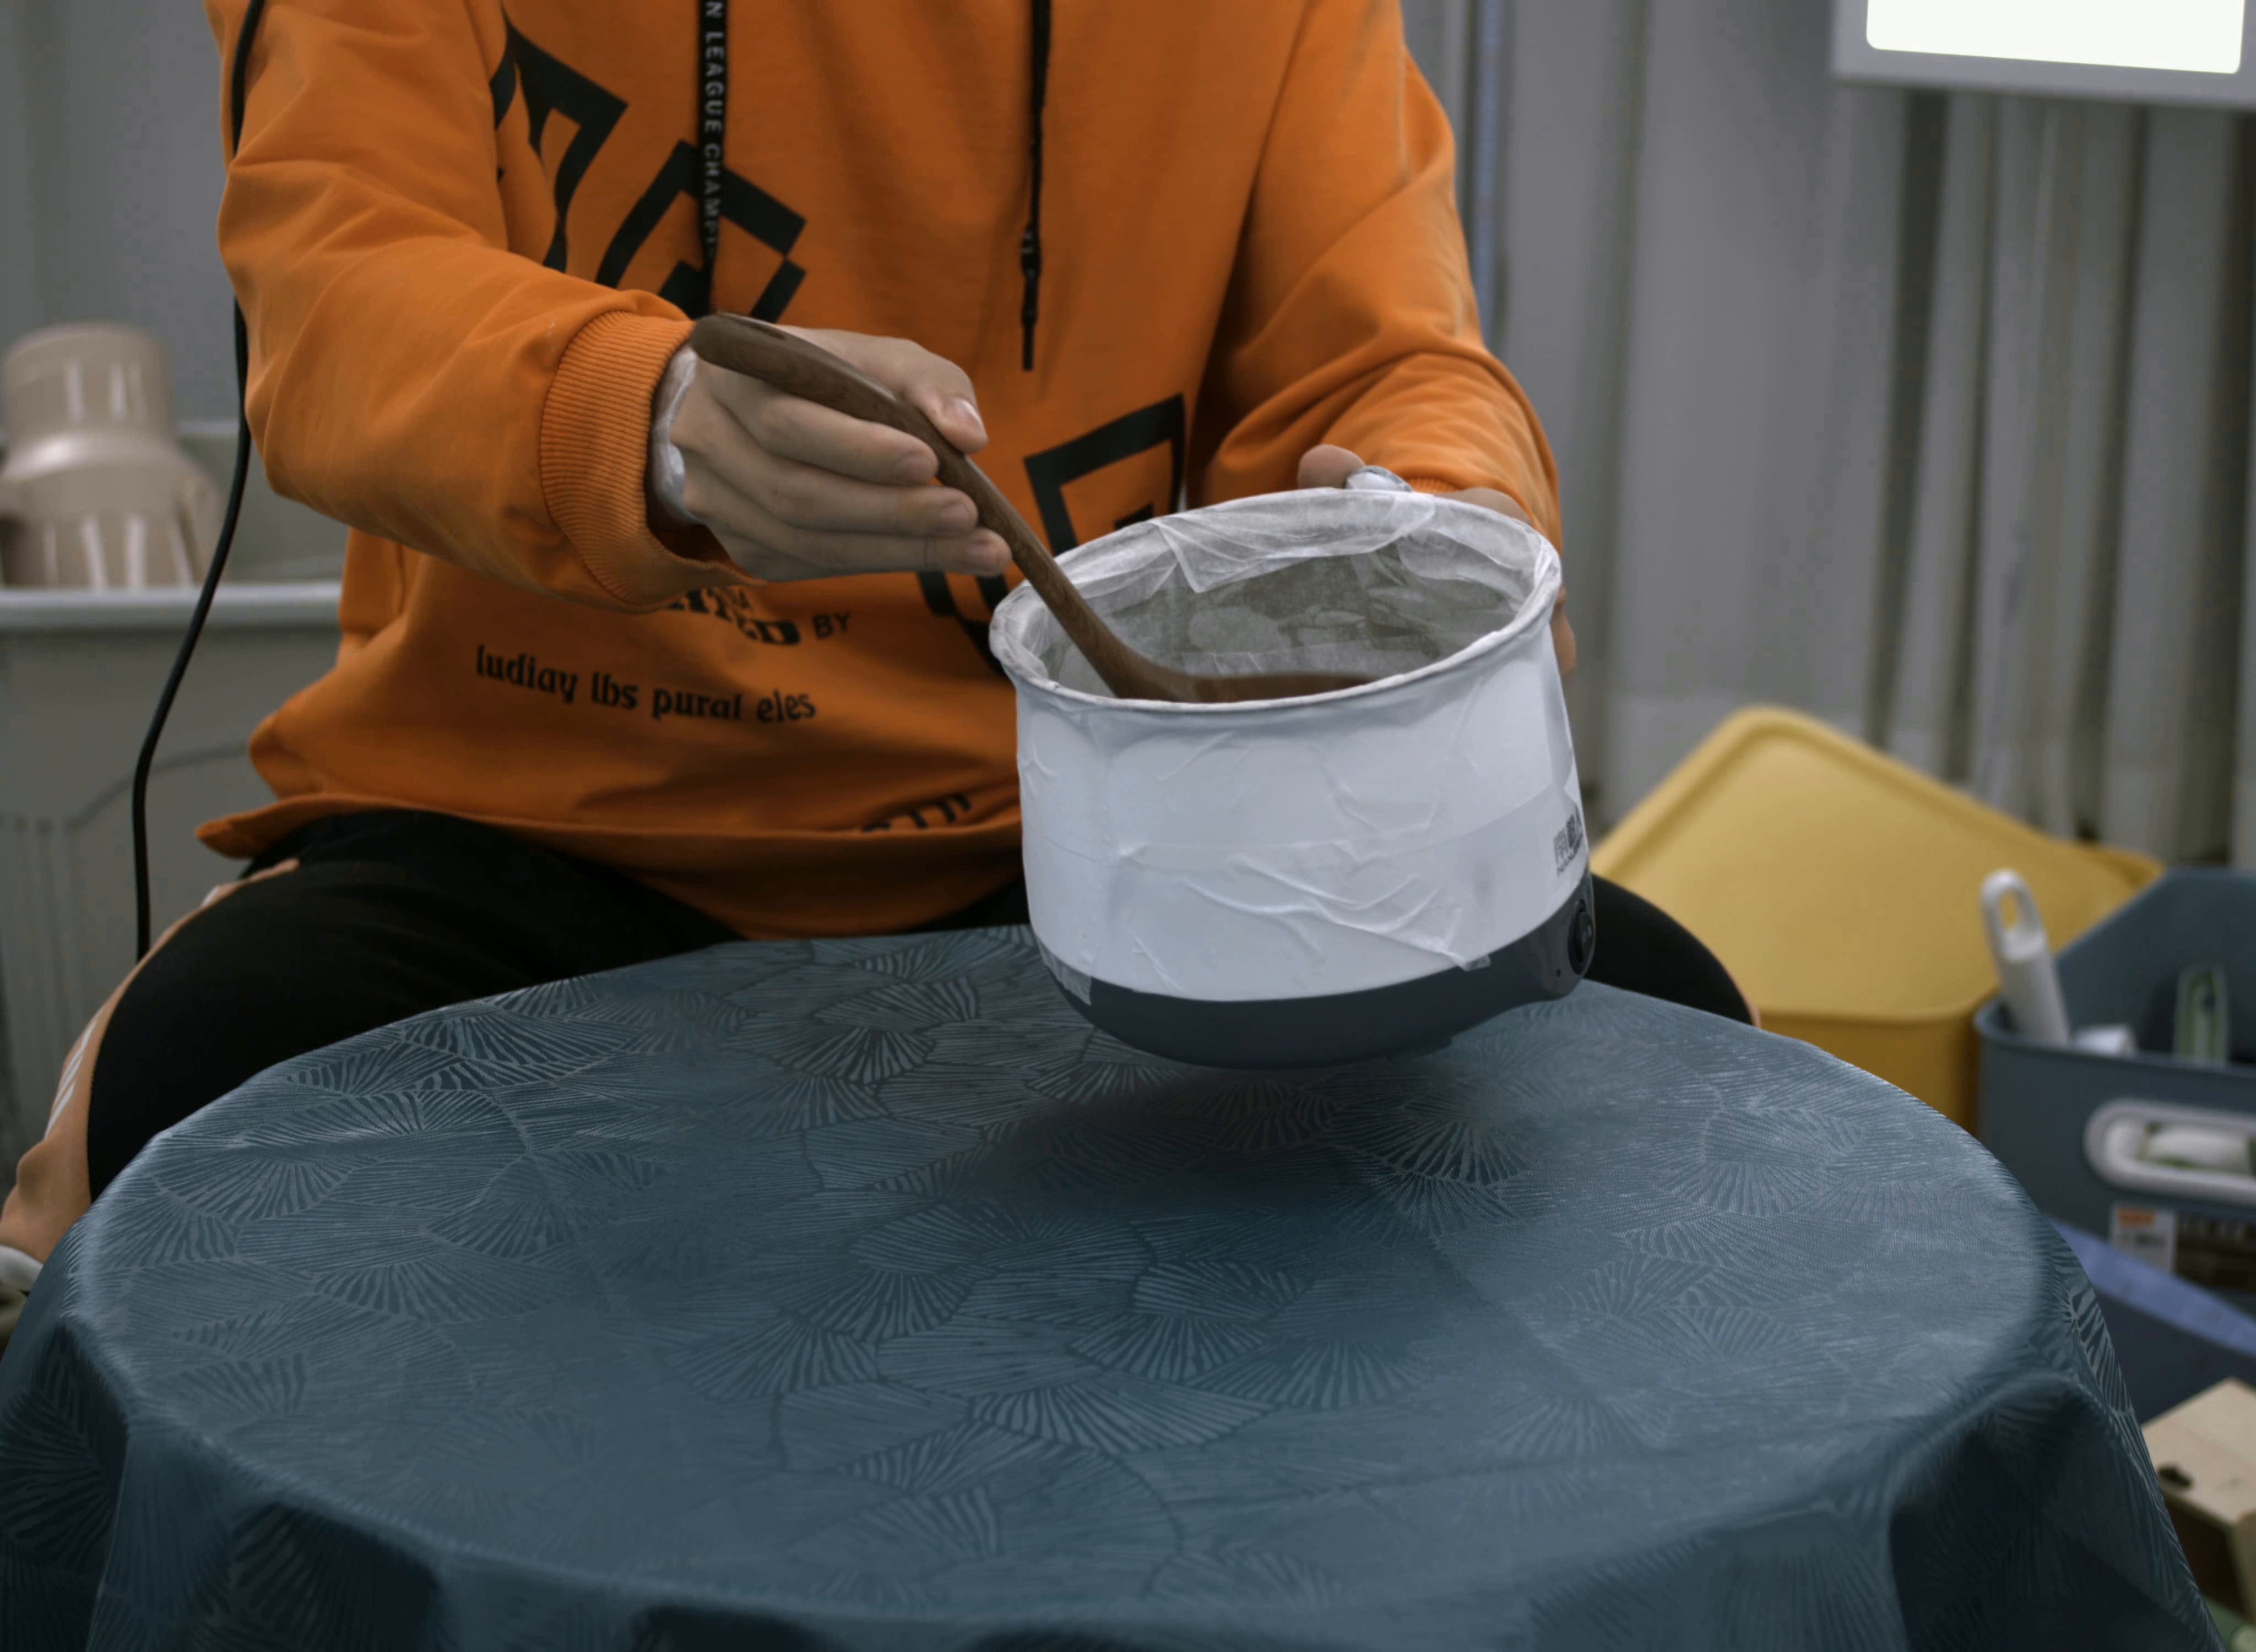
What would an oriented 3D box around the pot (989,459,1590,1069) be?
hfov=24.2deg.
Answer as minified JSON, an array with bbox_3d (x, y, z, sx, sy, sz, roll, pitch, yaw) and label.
[{"bbox_3d":[0.061,-0.026,1.663,0.177,0.138,0.233,2,26,19],"label":"pot"}]

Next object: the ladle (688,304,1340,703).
[{"bbox_3d":[-0.018,-0.090,1.599,0.262,0.065,0.076,40,8,-17],"label":"ladle"}]
